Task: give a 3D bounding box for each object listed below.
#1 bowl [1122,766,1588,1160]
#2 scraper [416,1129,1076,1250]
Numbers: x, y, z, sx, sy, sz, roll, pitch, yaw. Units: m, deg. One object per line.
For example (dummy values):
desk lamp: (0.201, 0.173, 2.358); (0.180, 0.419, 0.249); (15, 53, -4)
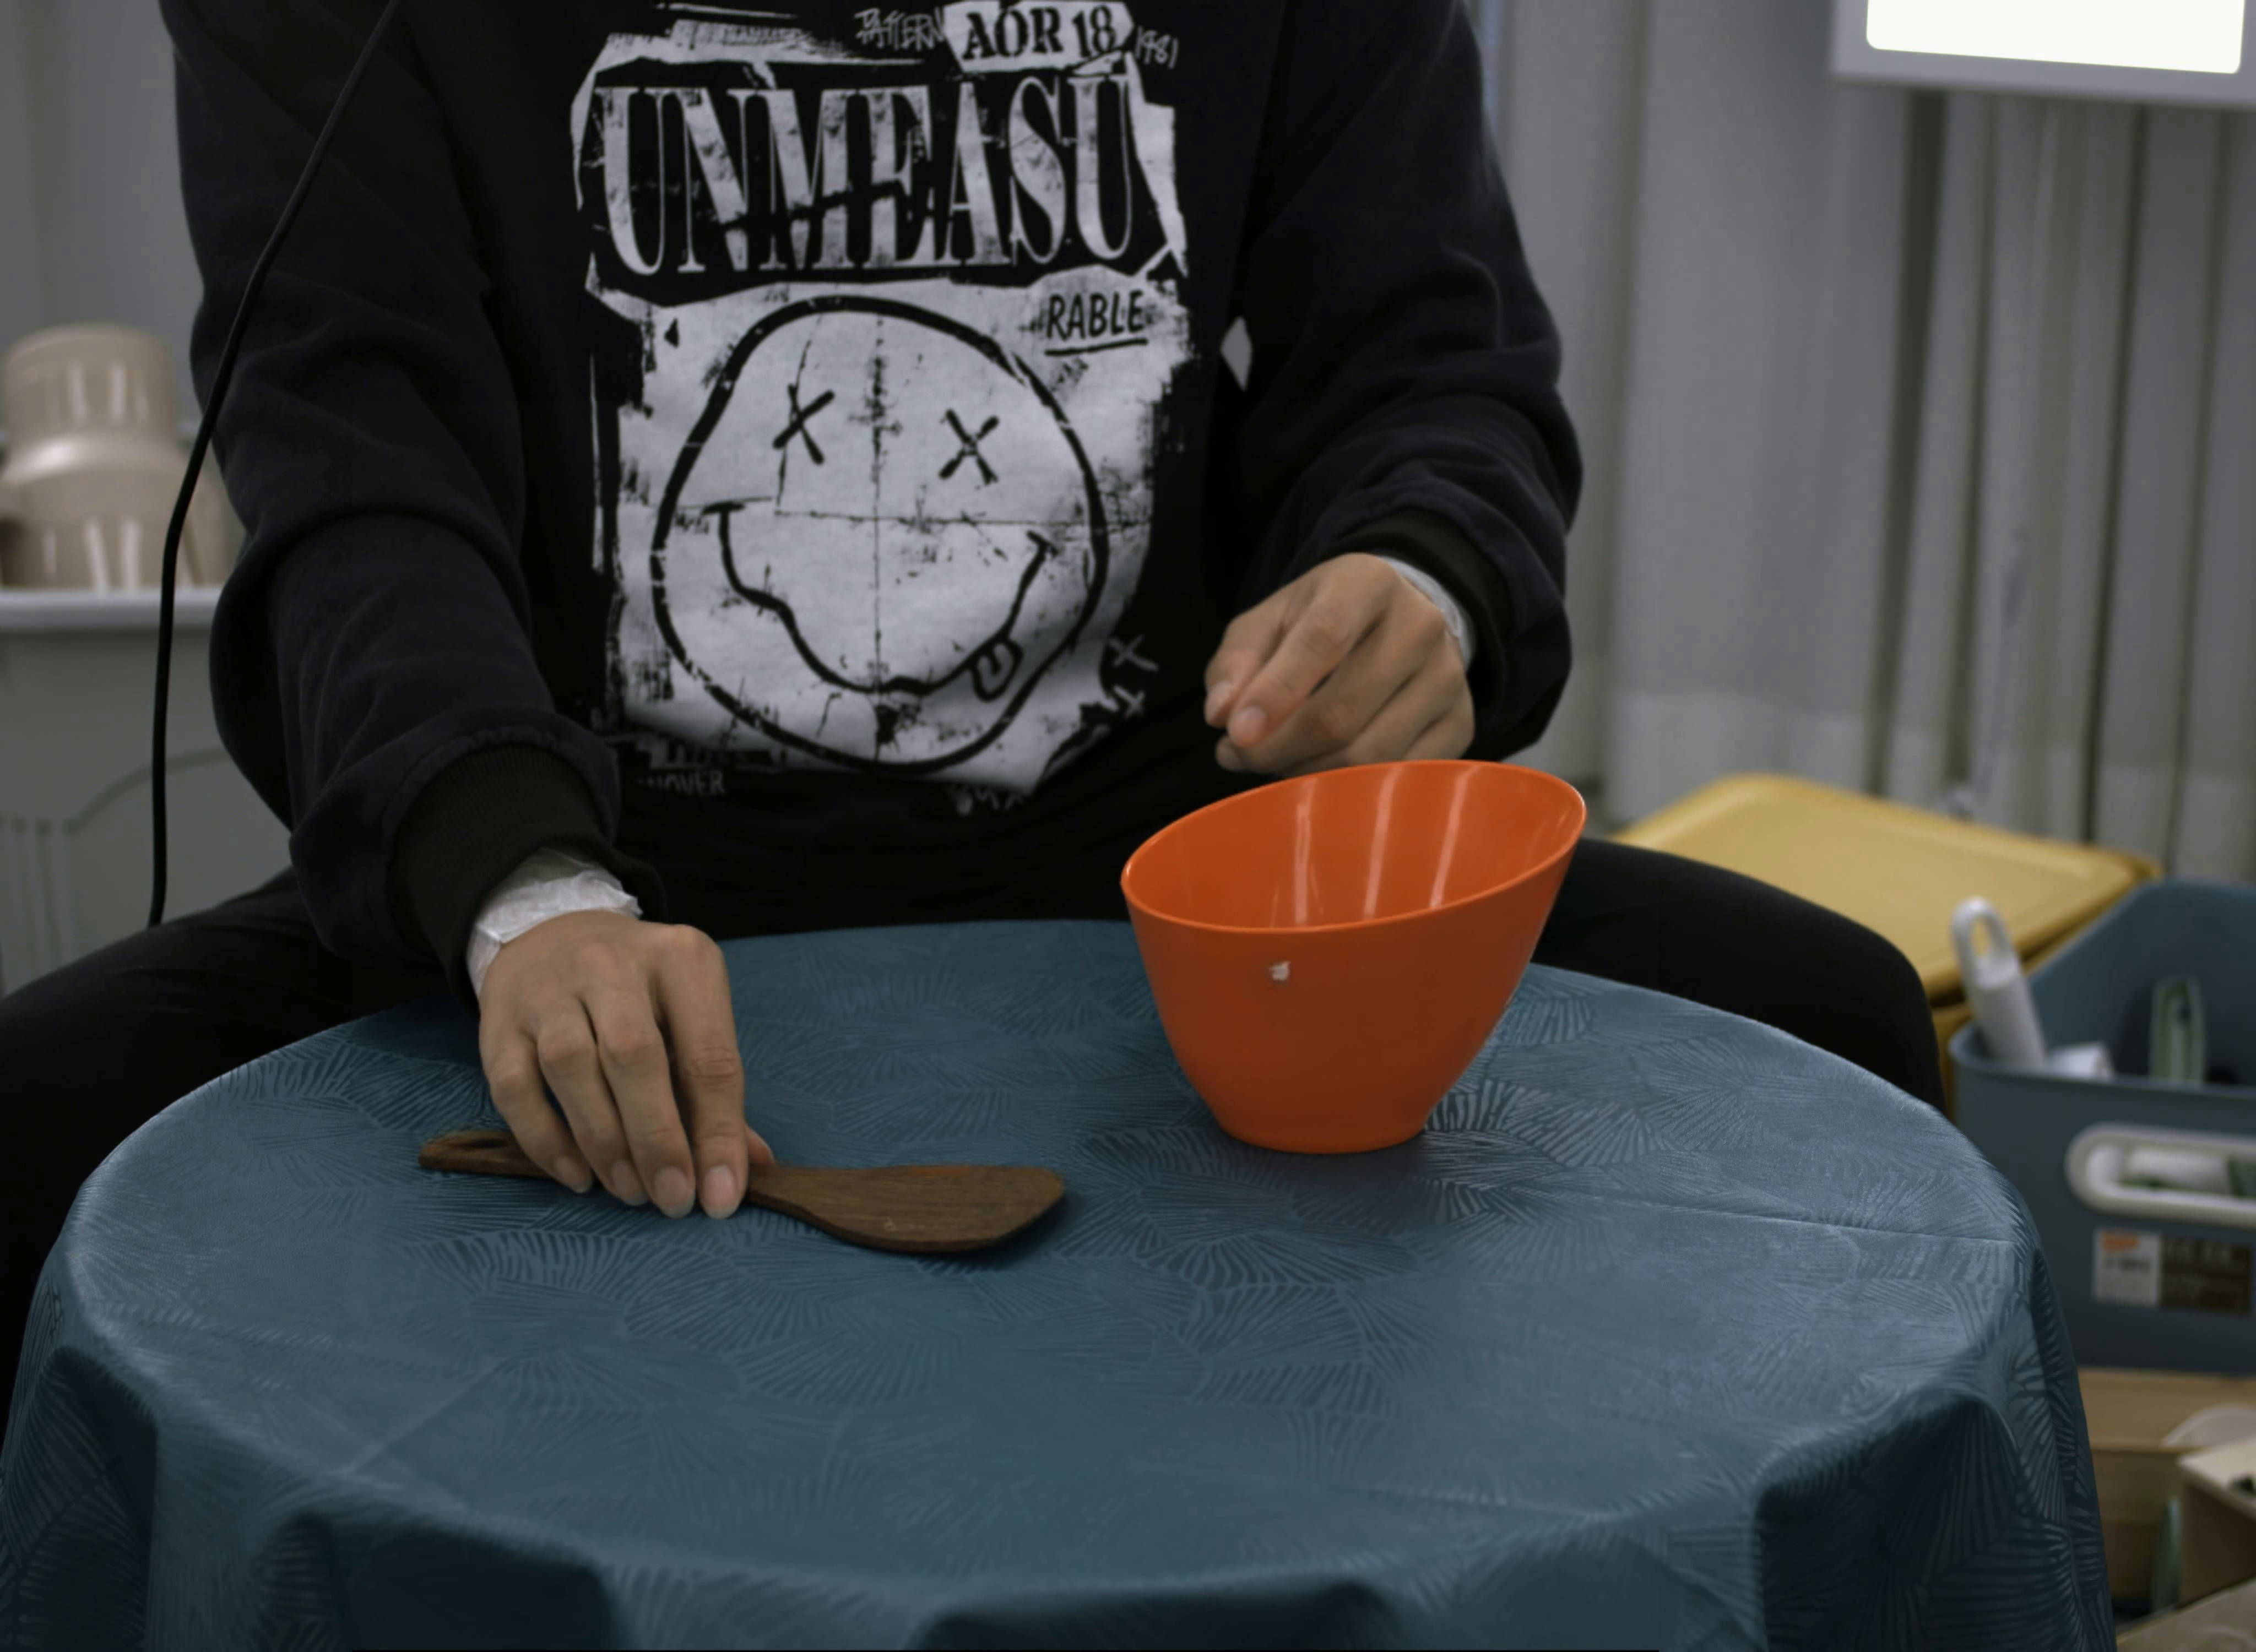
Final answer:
bowl: (0.072, 0.046, 1.679); (0.147, 0.105, 0.147); (1, 17, 0)
scraper: (-0.121, 0.109, 1.620); (0.209, 0.011, 0.076); (5, 15, 18)
